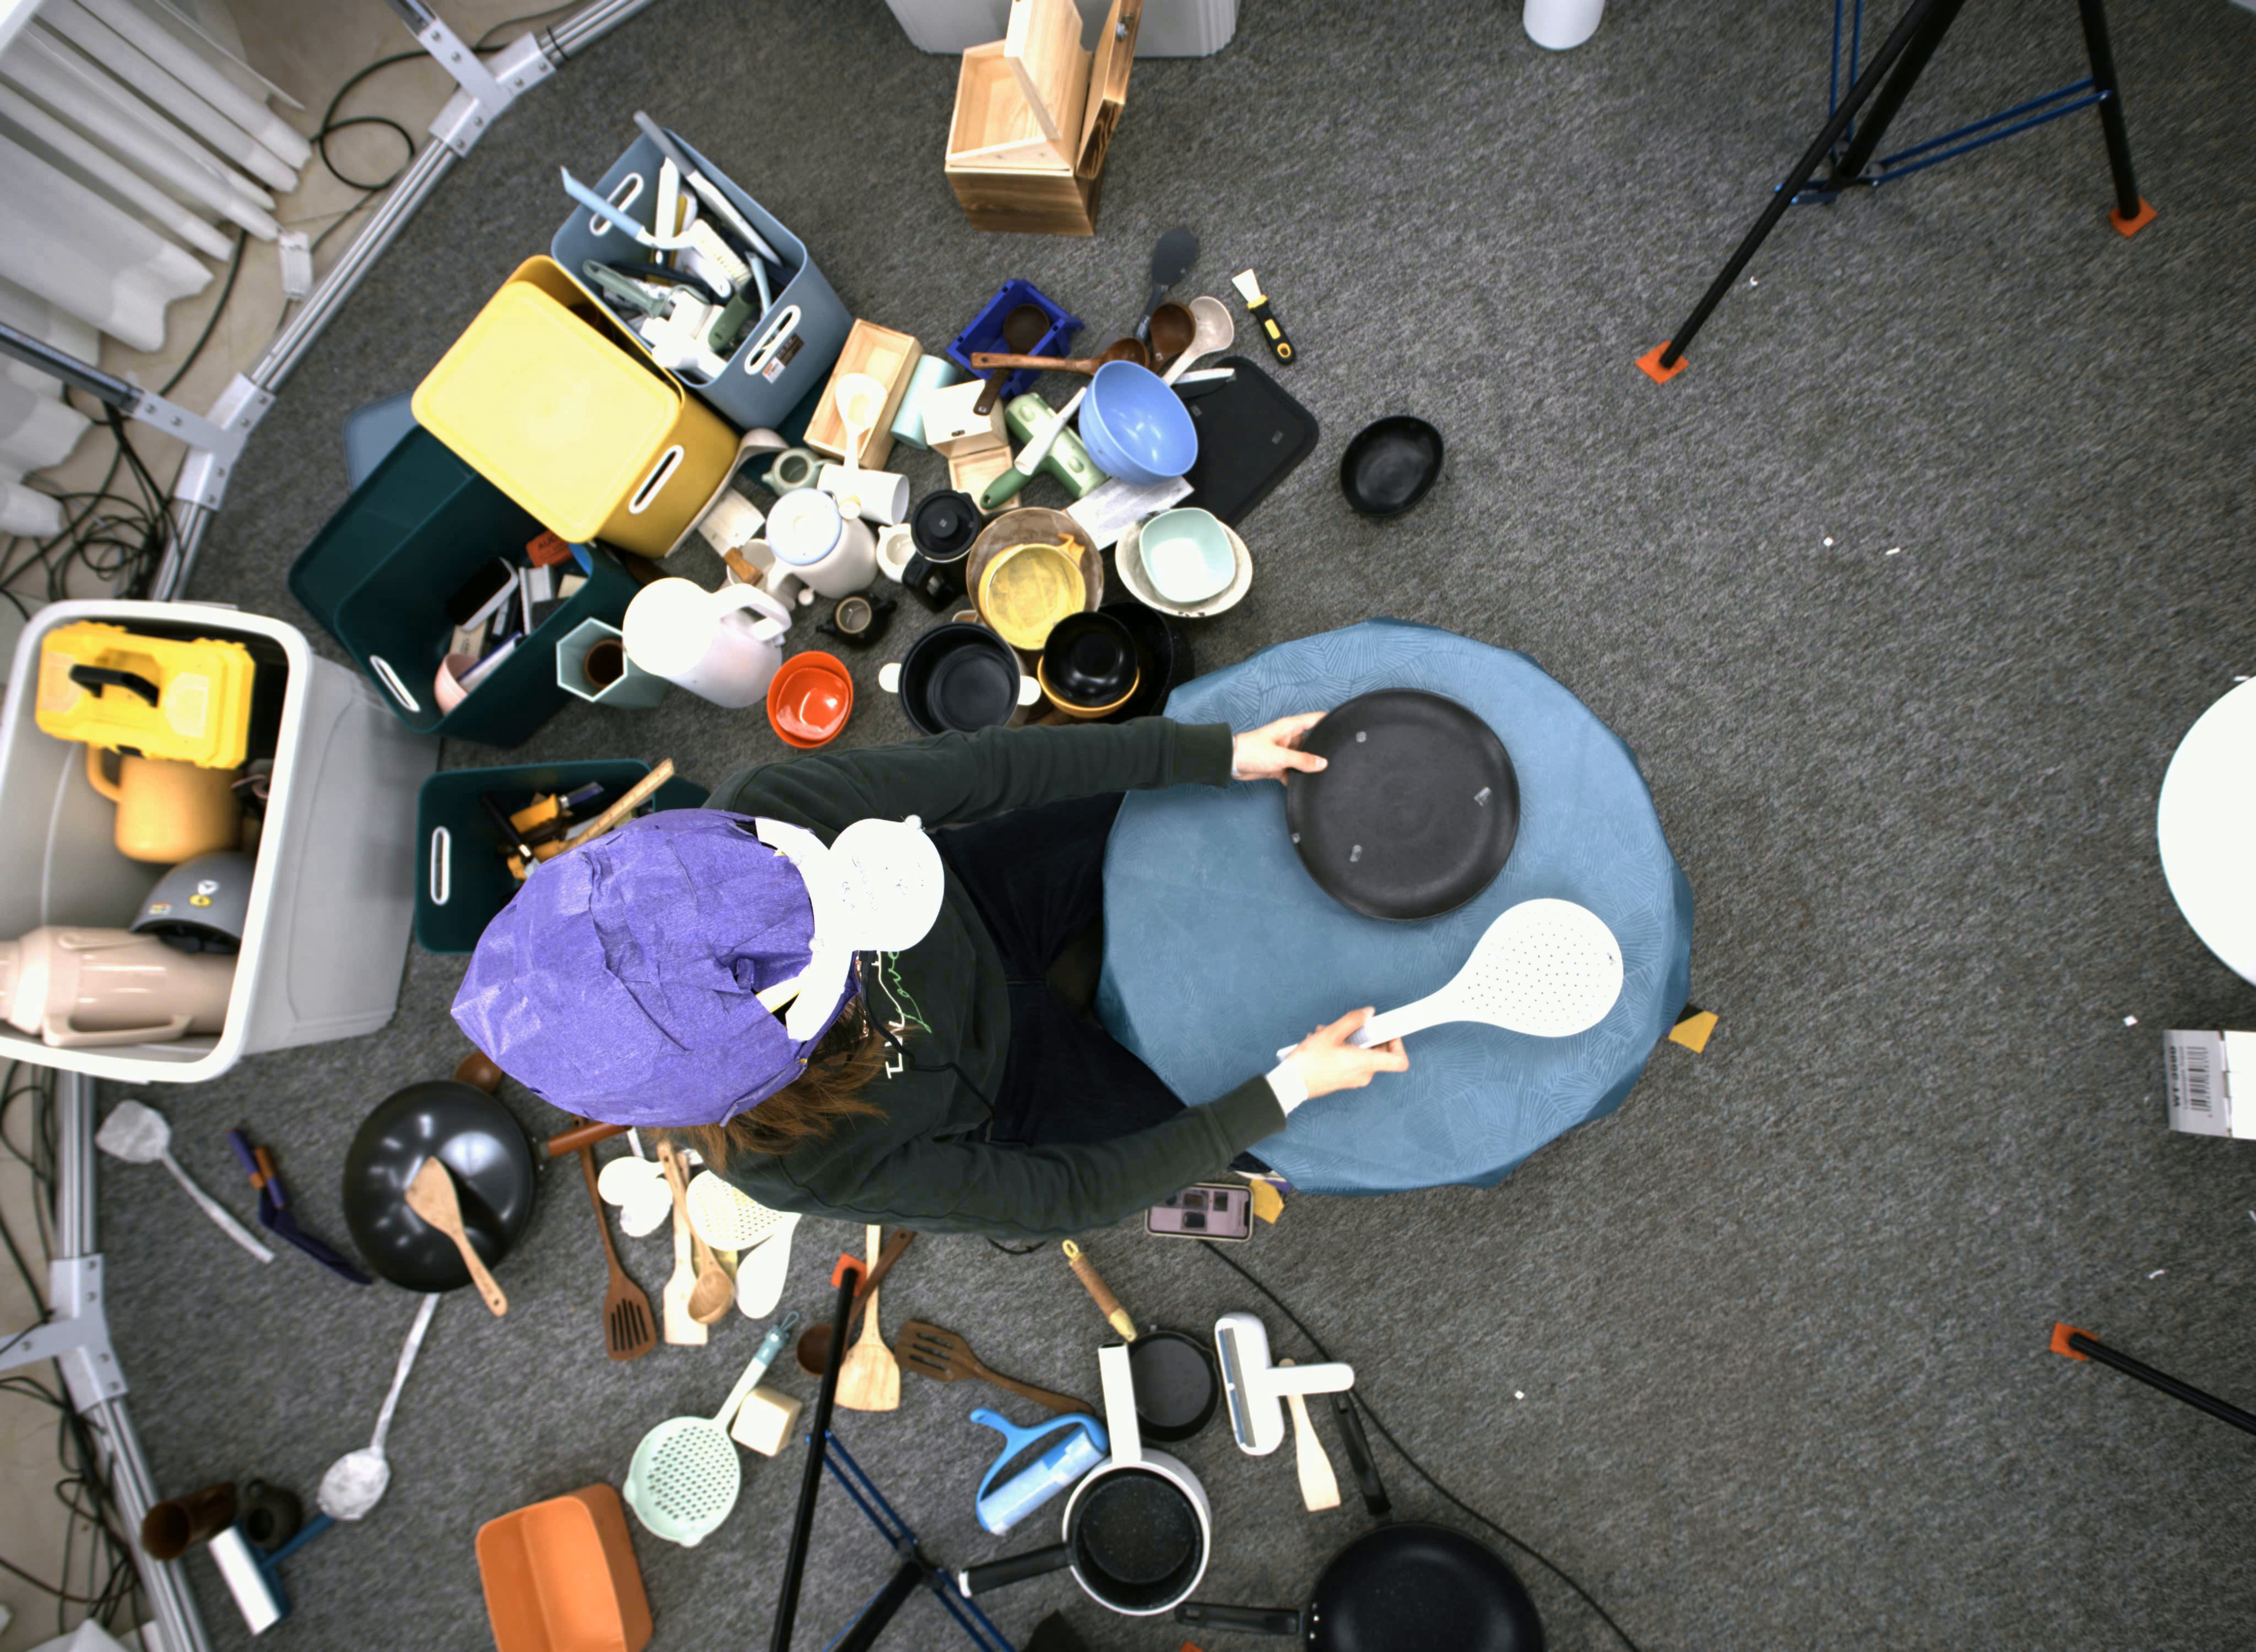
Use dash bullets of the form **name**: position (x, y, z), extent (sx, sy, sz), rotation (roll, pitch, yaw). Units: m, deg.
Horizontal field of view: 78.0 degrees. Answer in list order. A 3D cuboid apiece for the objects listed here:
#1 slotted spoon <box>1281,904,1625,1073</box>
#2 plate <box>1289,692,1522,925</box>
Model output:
- **slotted spoon**: position (0.321, 0.179, 1.378), extent (0.350, 0.046, 0.134), rotation (-18, 70, 3)
- **plate**: position (0.288, -0.020, 1.437), extent (0.245, 0.023, 0.243), rotation (0, 88, 2)
